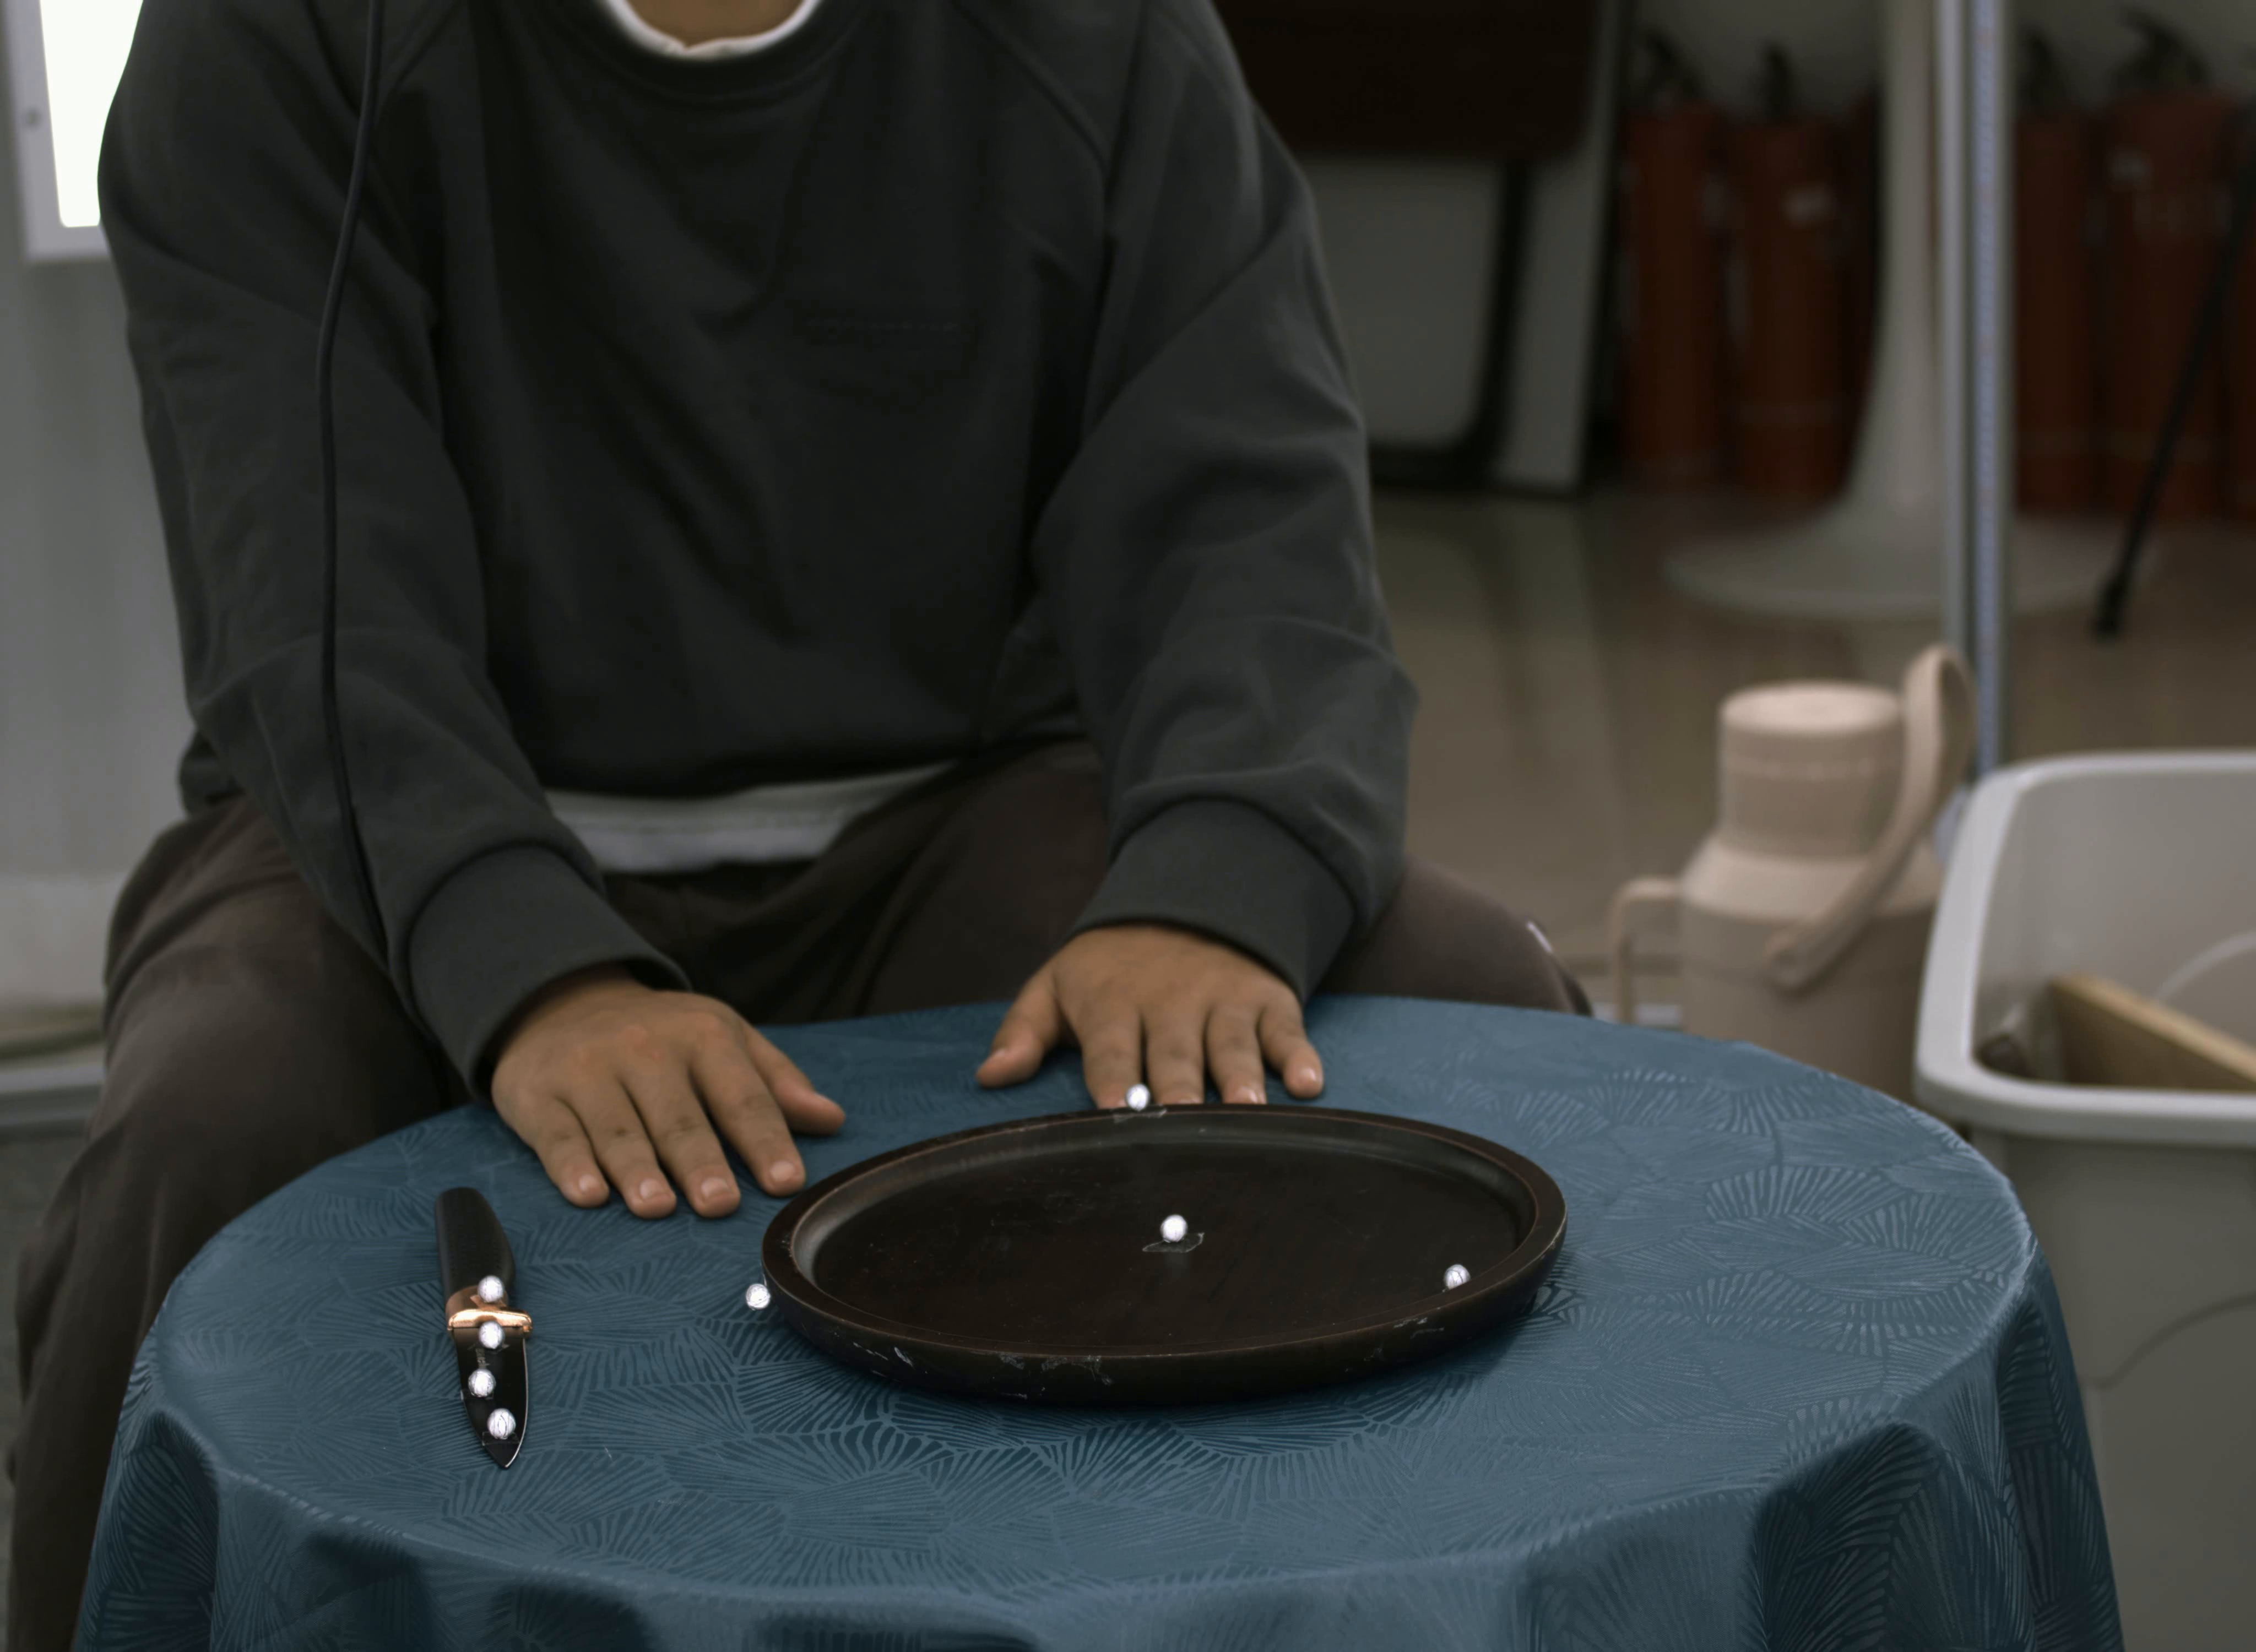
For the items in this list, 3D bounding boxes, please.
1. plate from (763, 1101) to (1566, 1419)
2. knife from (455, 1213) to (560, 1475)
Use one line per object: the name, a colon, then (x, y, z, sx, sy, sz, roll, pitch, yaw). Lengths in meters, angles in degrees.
plate: (0.012, 0.133, 1.677, 0.251, 0.029, 0.255, -5, 13, 0)
knife: (-0.190, 0.158, 1.658, 0.026, 0.017, 0.227, 0, 14, -9)
